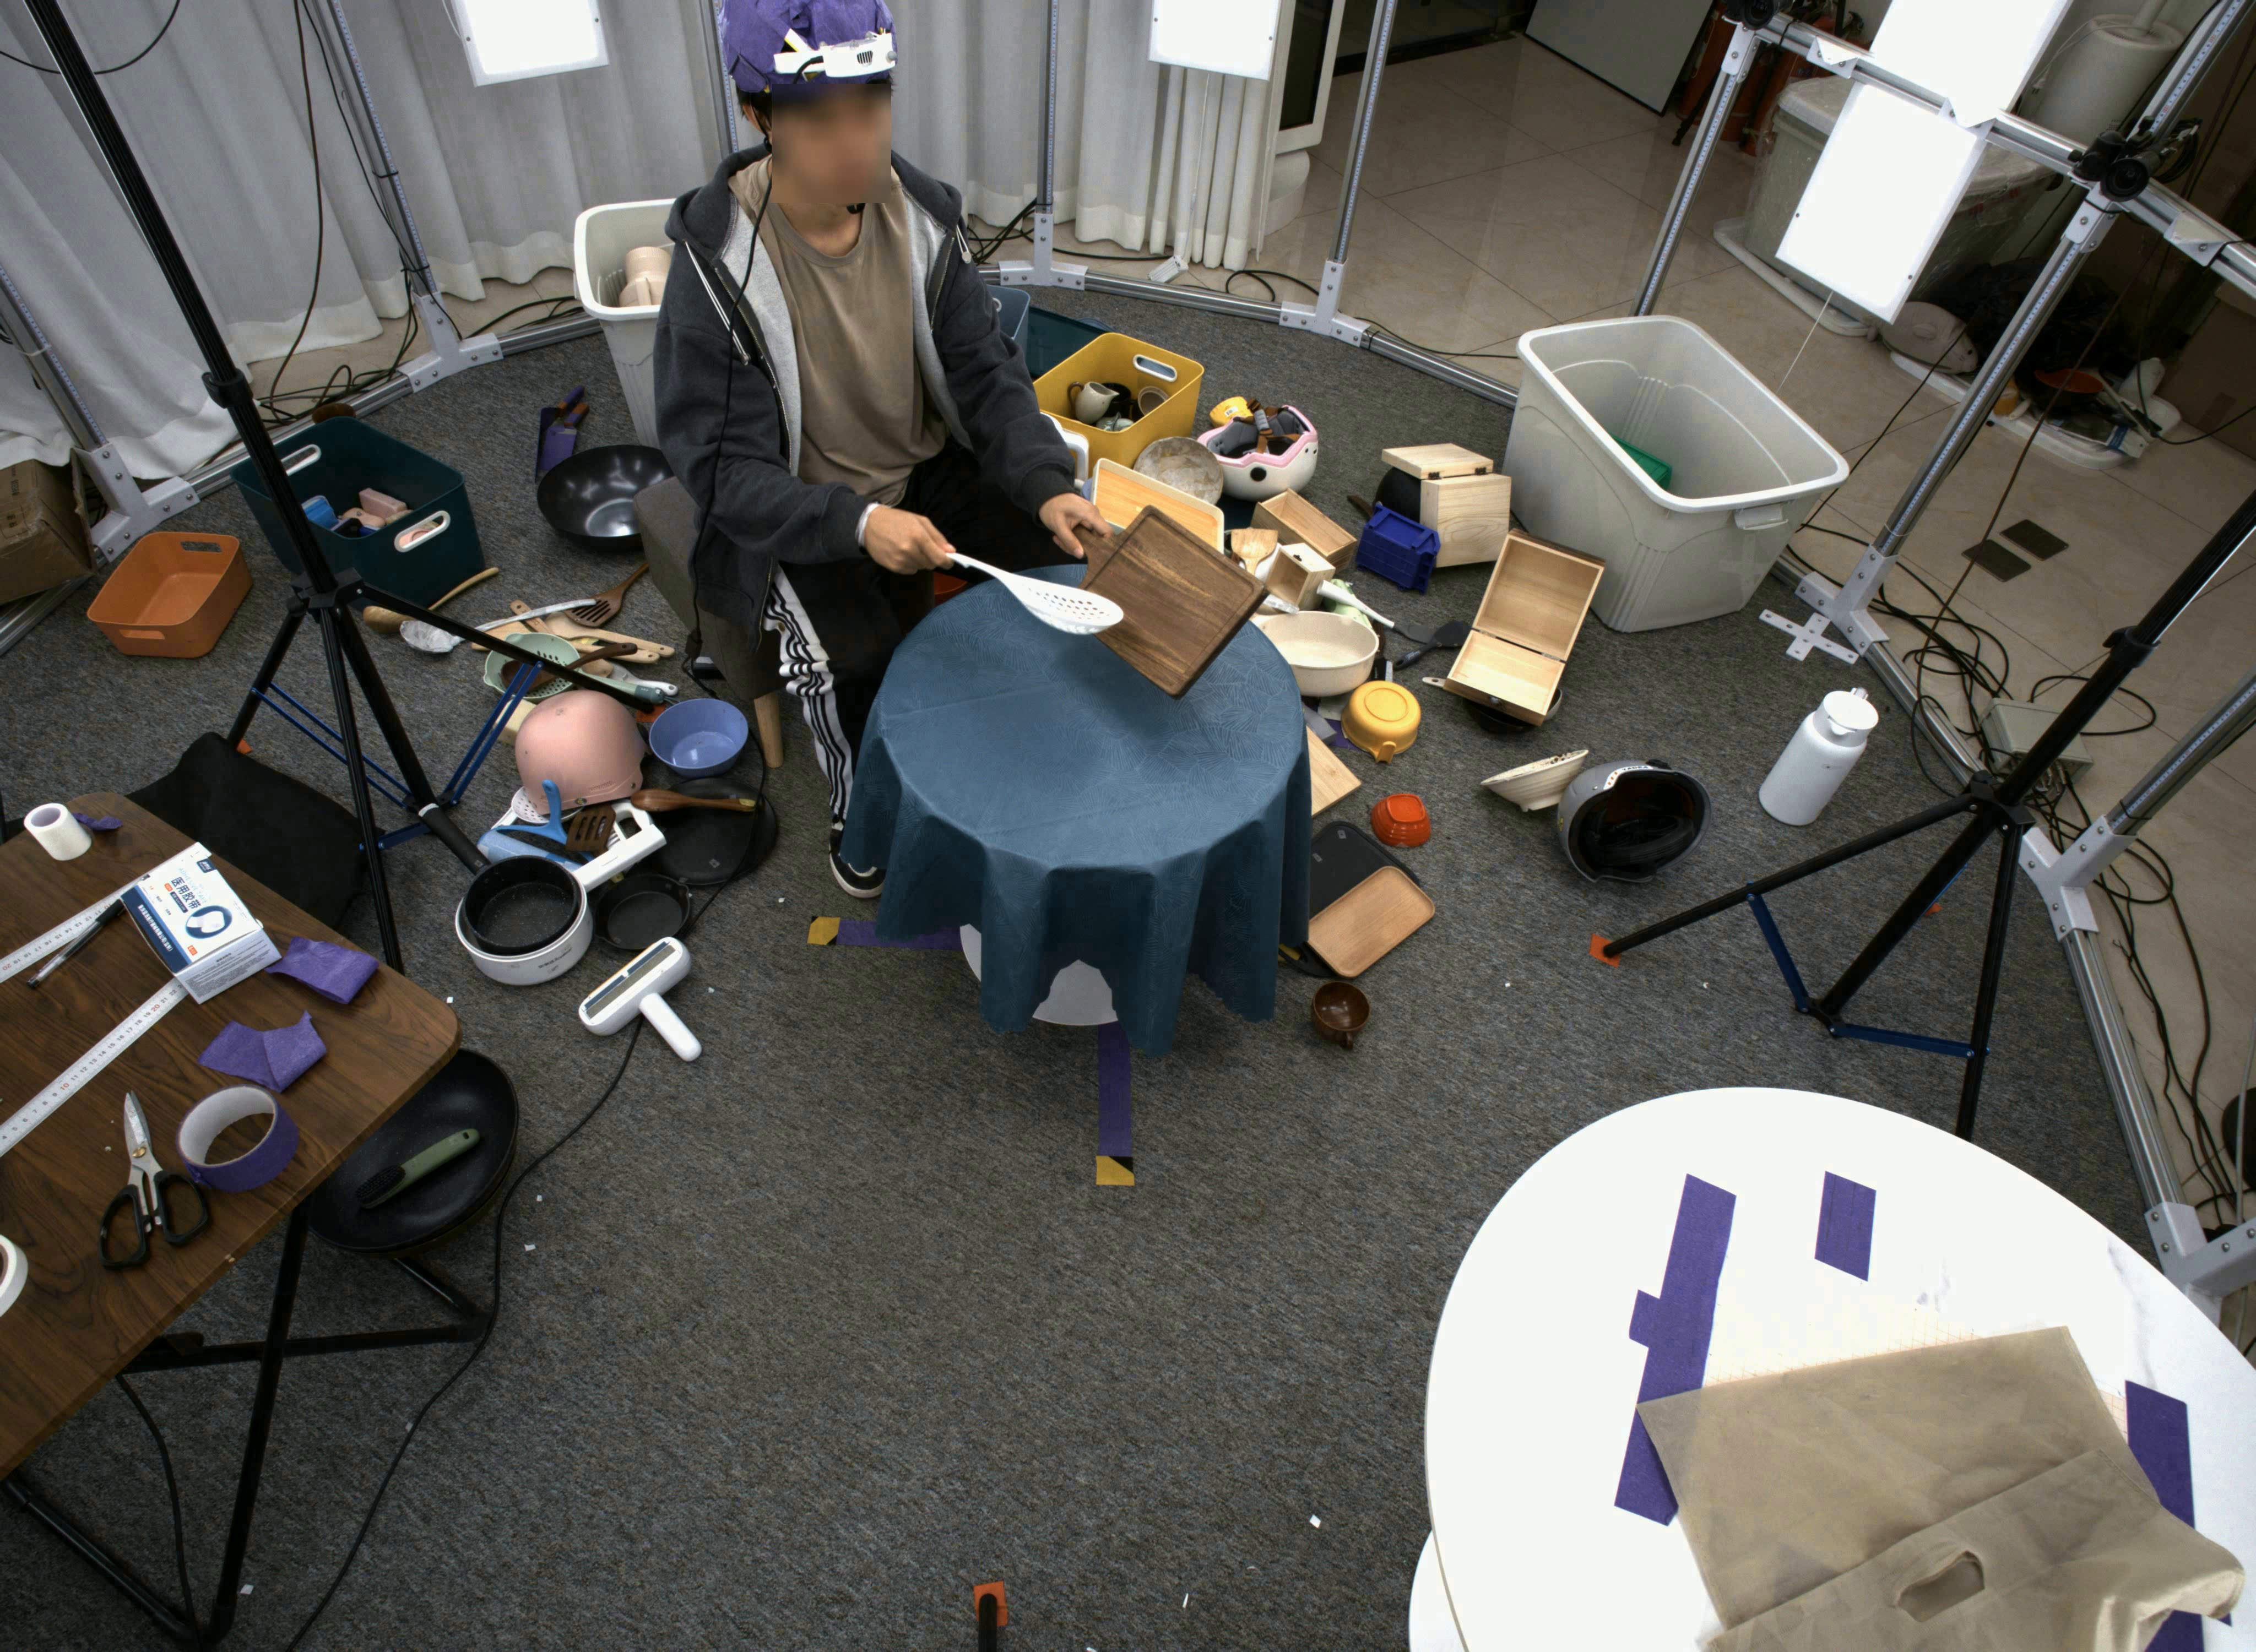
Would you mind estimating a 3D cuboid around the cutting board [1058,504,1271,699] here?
[{"bbox_3d":[0.018,-0.343,1.806,0.201,0.023,0.358,-49,57,1],"label":"cutting board"}]

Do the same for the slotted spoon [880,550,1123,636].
[{"bbox_3d":[-0.174,-0.325,1.733,0.350,0.049,0.138,26,28,12],"label":"slotted spoon"}]
